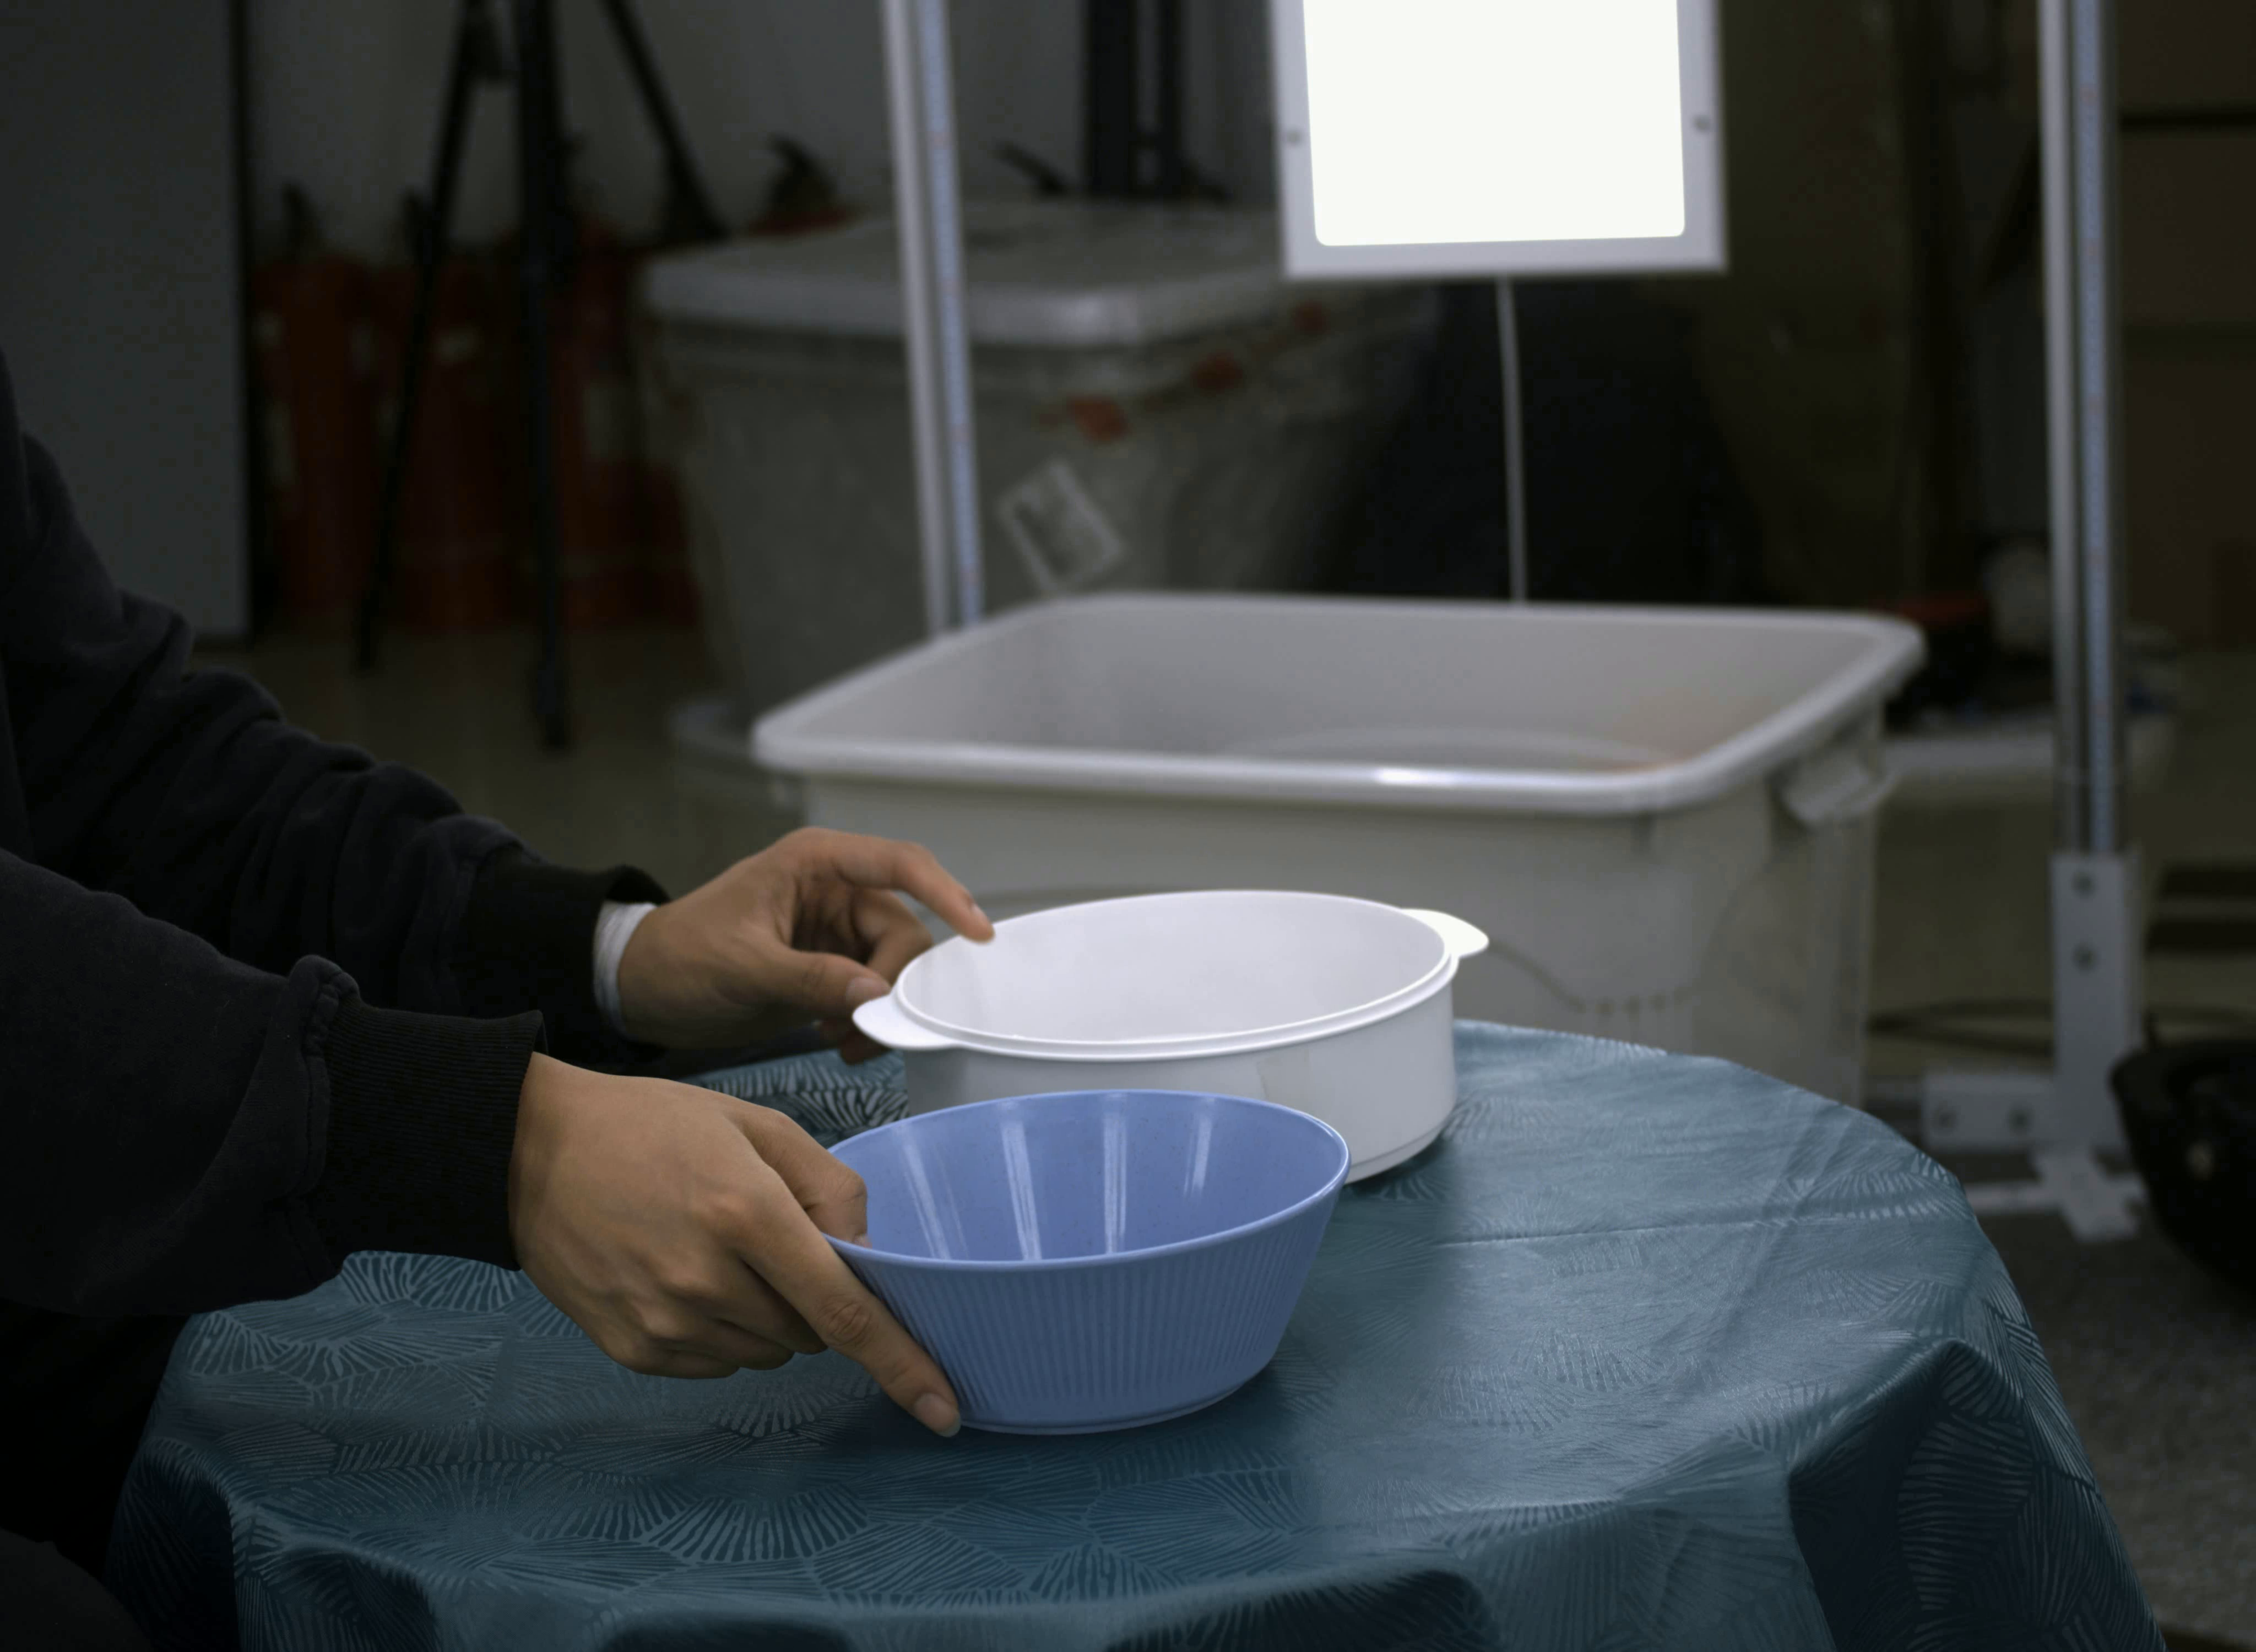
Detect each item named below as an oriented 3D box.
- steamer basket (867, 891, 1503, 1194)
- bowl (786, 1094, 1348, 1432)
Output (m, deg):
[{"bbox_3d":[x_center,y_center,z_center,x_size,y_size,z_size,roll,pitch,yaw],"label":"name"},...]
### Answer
[{"bbox_3d":[0.023,0.078,1.940,0.226,0.069,0.204,-7,14,-18],"label":"steamer basket"},{"bbox_3d":[-0.016,0.138,1.708,0.175,0.070,0.176,-5,13,0],"label":"bowl"}]
